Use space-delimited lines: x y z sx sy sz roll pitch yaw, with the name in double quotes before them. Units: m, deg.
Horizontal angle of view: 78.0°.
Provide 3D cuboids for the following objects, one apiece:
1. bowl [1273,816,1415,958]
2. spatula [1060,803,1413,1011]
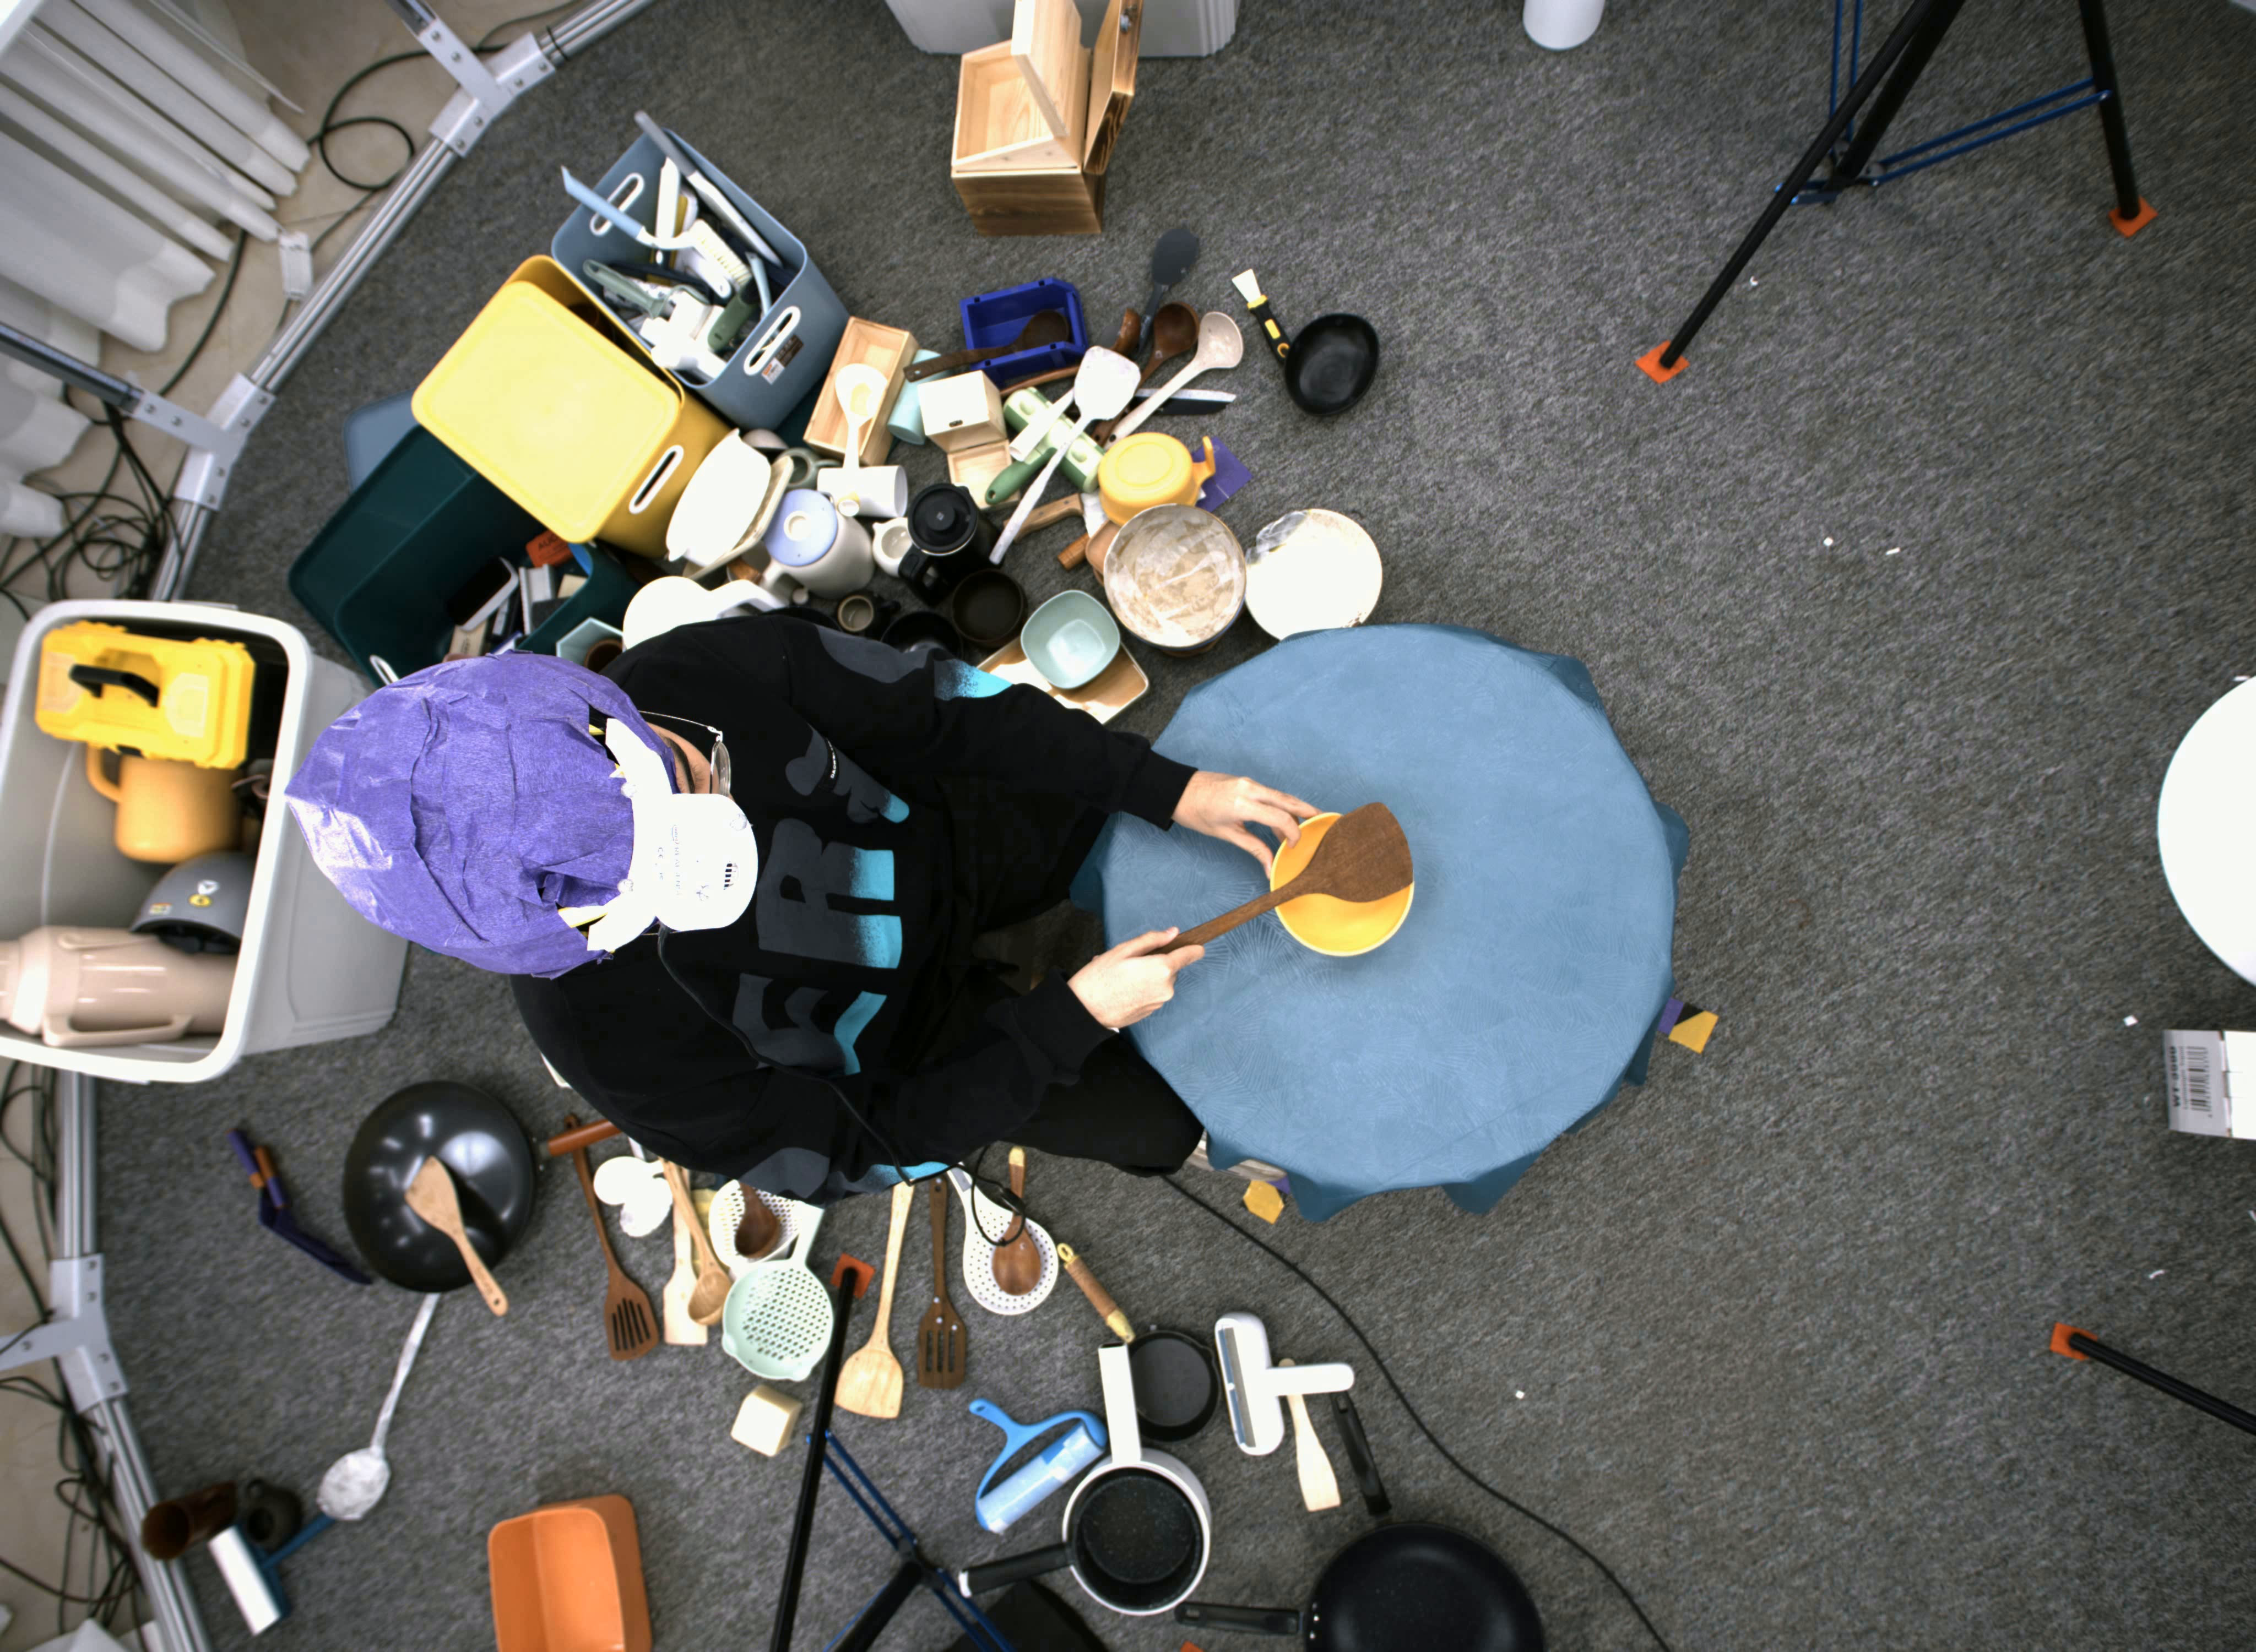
"bowl" 0.218 0.064 1.421 0.145 0.060 0.144 0 84 1
"spatula" 0.108 0.089 1.349 0.383 0.016 0.096 -25 98 -13
